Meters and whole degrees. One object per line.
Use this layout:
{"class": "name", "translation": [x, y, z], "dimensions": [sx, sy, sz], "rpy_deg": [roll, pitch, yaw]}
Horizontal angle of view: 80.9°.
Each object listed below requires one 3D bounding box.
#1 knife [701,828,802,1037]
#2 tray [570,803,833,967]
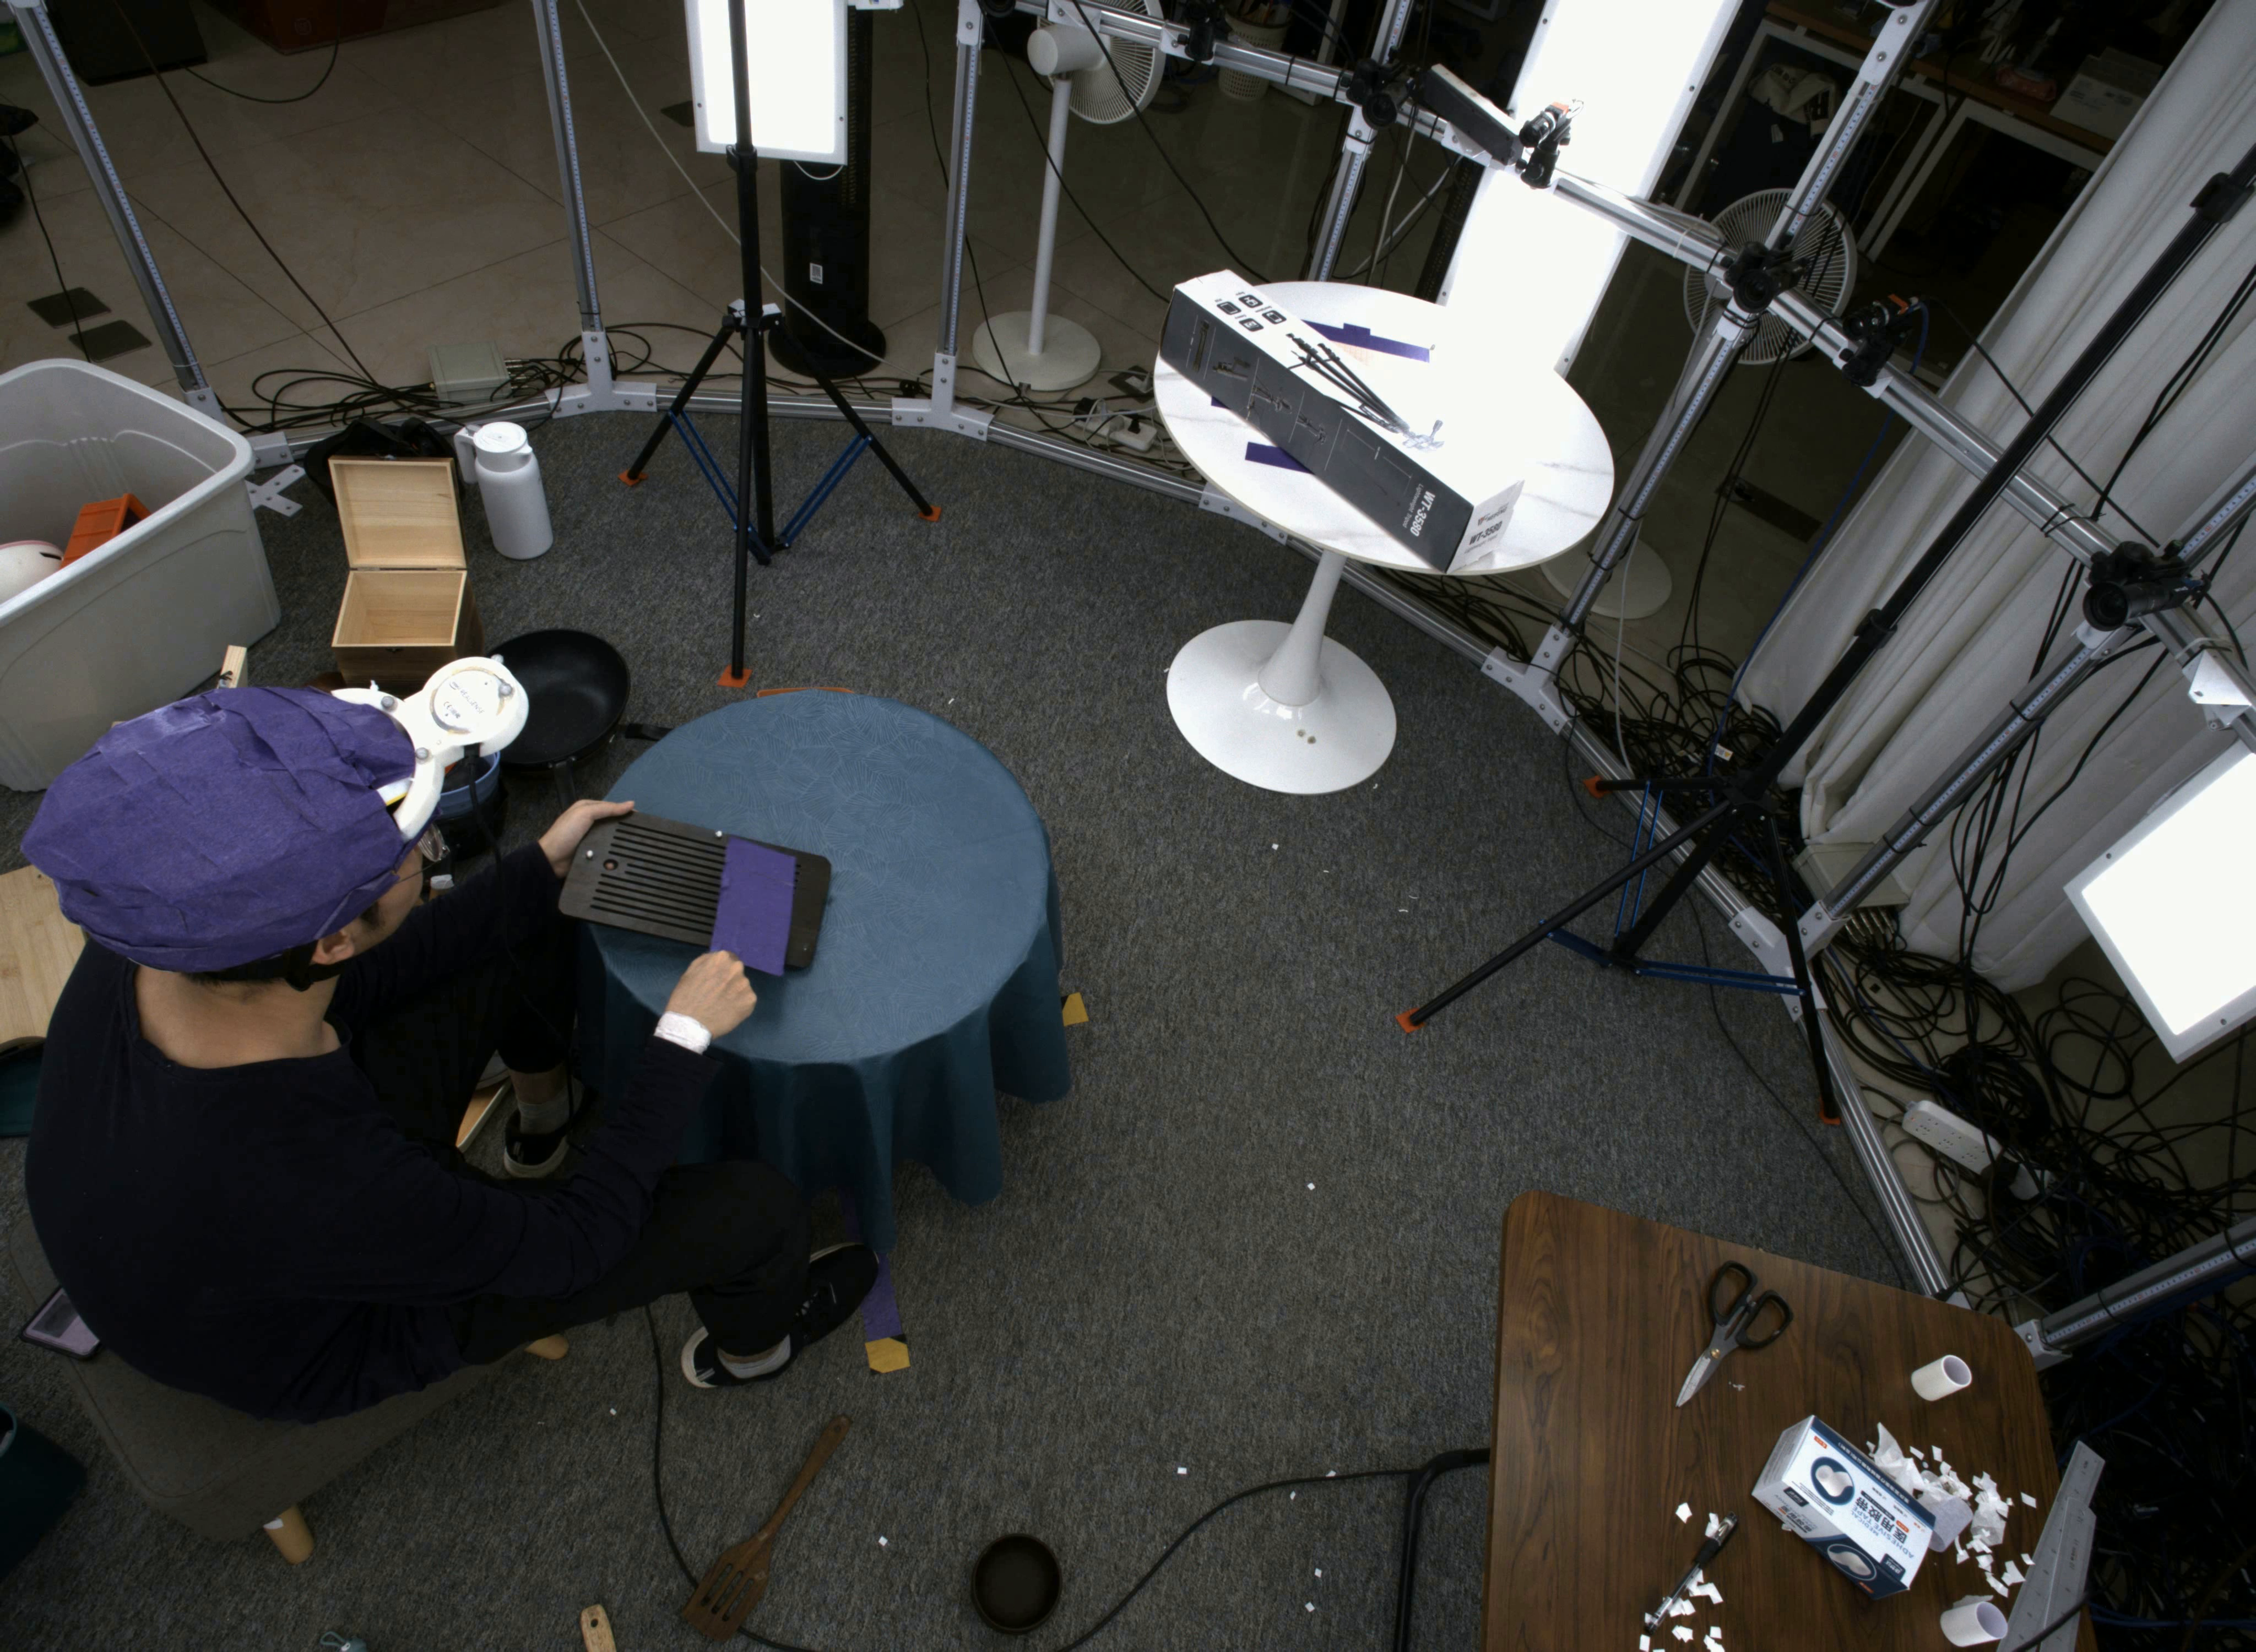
{"class": "knife", "translation": [-0.443, 0.122, 1.540], "dimensions": [0.106, 0.032, 0.308], "rpy_deg": [21, 40, -26]}
{"class": "tray", "translation": [-0.530, 0.073, 1.608], "dimensions": [0.309, 0.019, 0.167], "rpy_deg": [15, 52, -18]}
